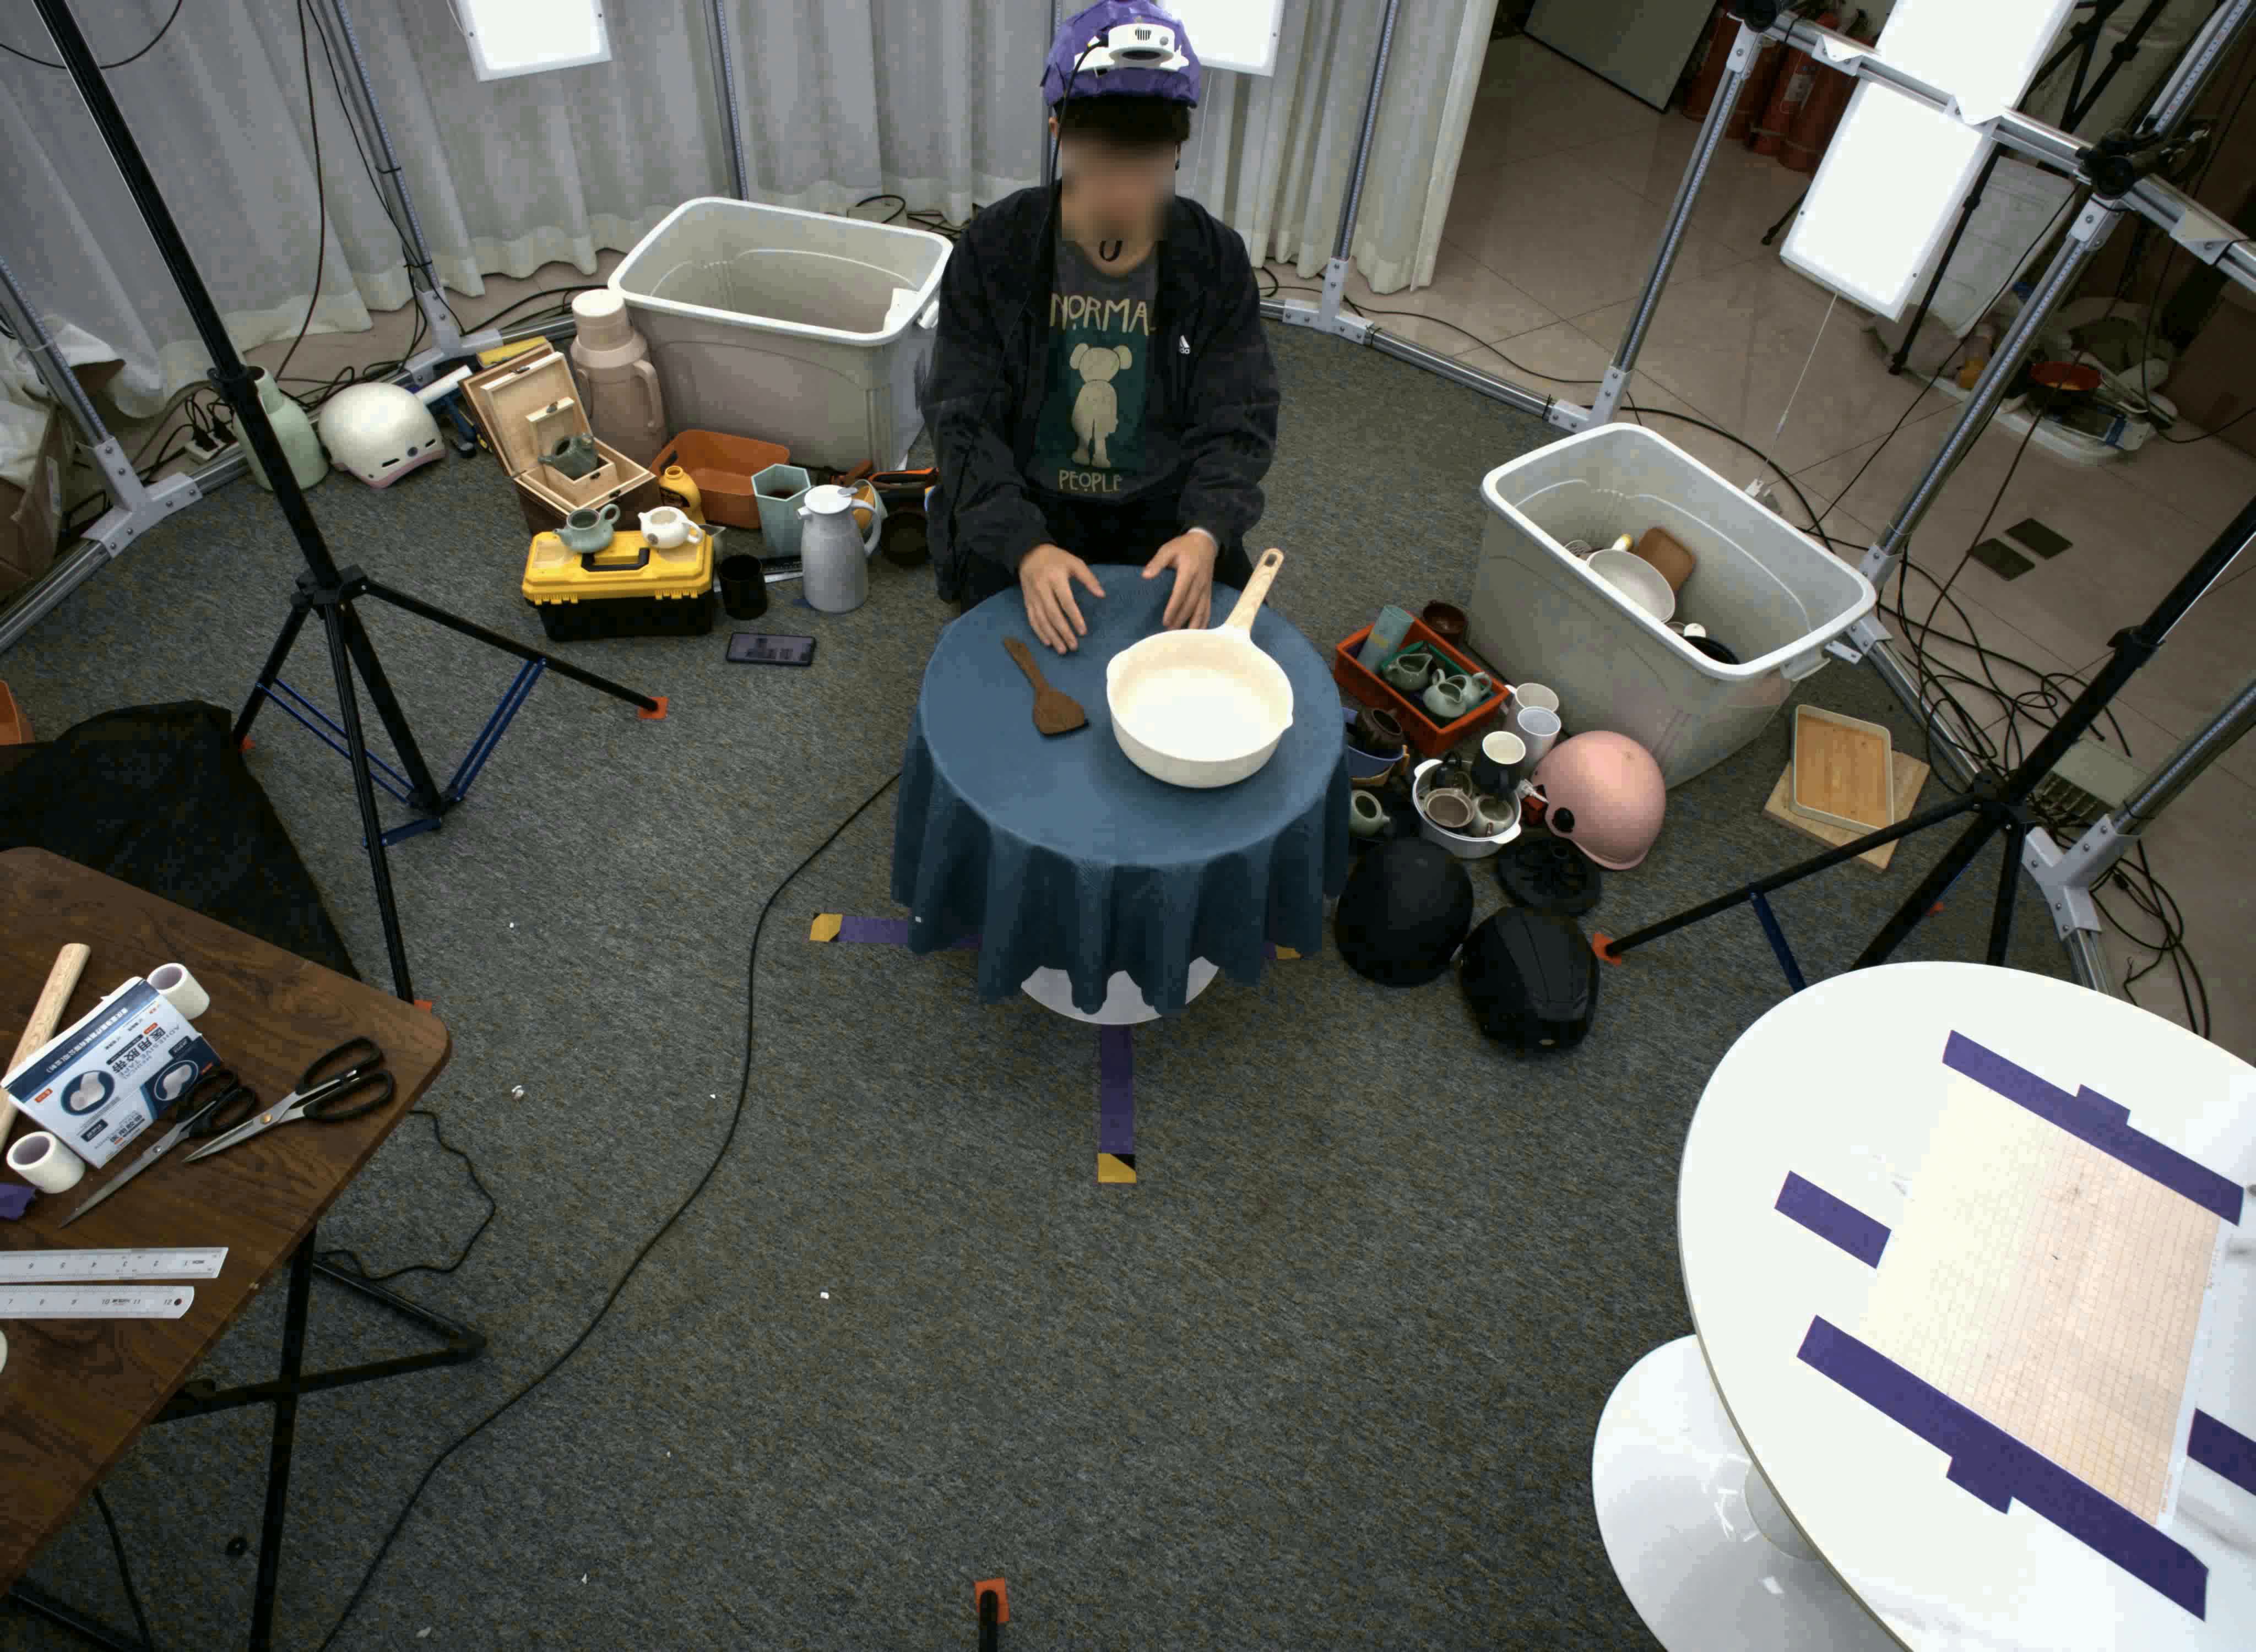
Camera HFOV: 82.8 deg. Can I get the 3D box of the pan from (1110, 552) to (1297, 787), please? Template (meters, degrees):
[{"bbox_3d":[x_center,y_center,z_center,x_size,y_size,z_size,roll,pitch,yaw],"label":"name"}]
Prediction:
[{"bbox_3d":[0.135,-0.223,1.806,0.265,0.099,0.443,18,49,14],"label":"pan"}]

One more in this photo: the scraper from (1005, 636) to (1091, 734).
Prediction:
[{"bbox_3d":[-0.126,-0.205,1.832,0.076,0.010,0.216,-17,51,-19],"label":"scraper"}]
